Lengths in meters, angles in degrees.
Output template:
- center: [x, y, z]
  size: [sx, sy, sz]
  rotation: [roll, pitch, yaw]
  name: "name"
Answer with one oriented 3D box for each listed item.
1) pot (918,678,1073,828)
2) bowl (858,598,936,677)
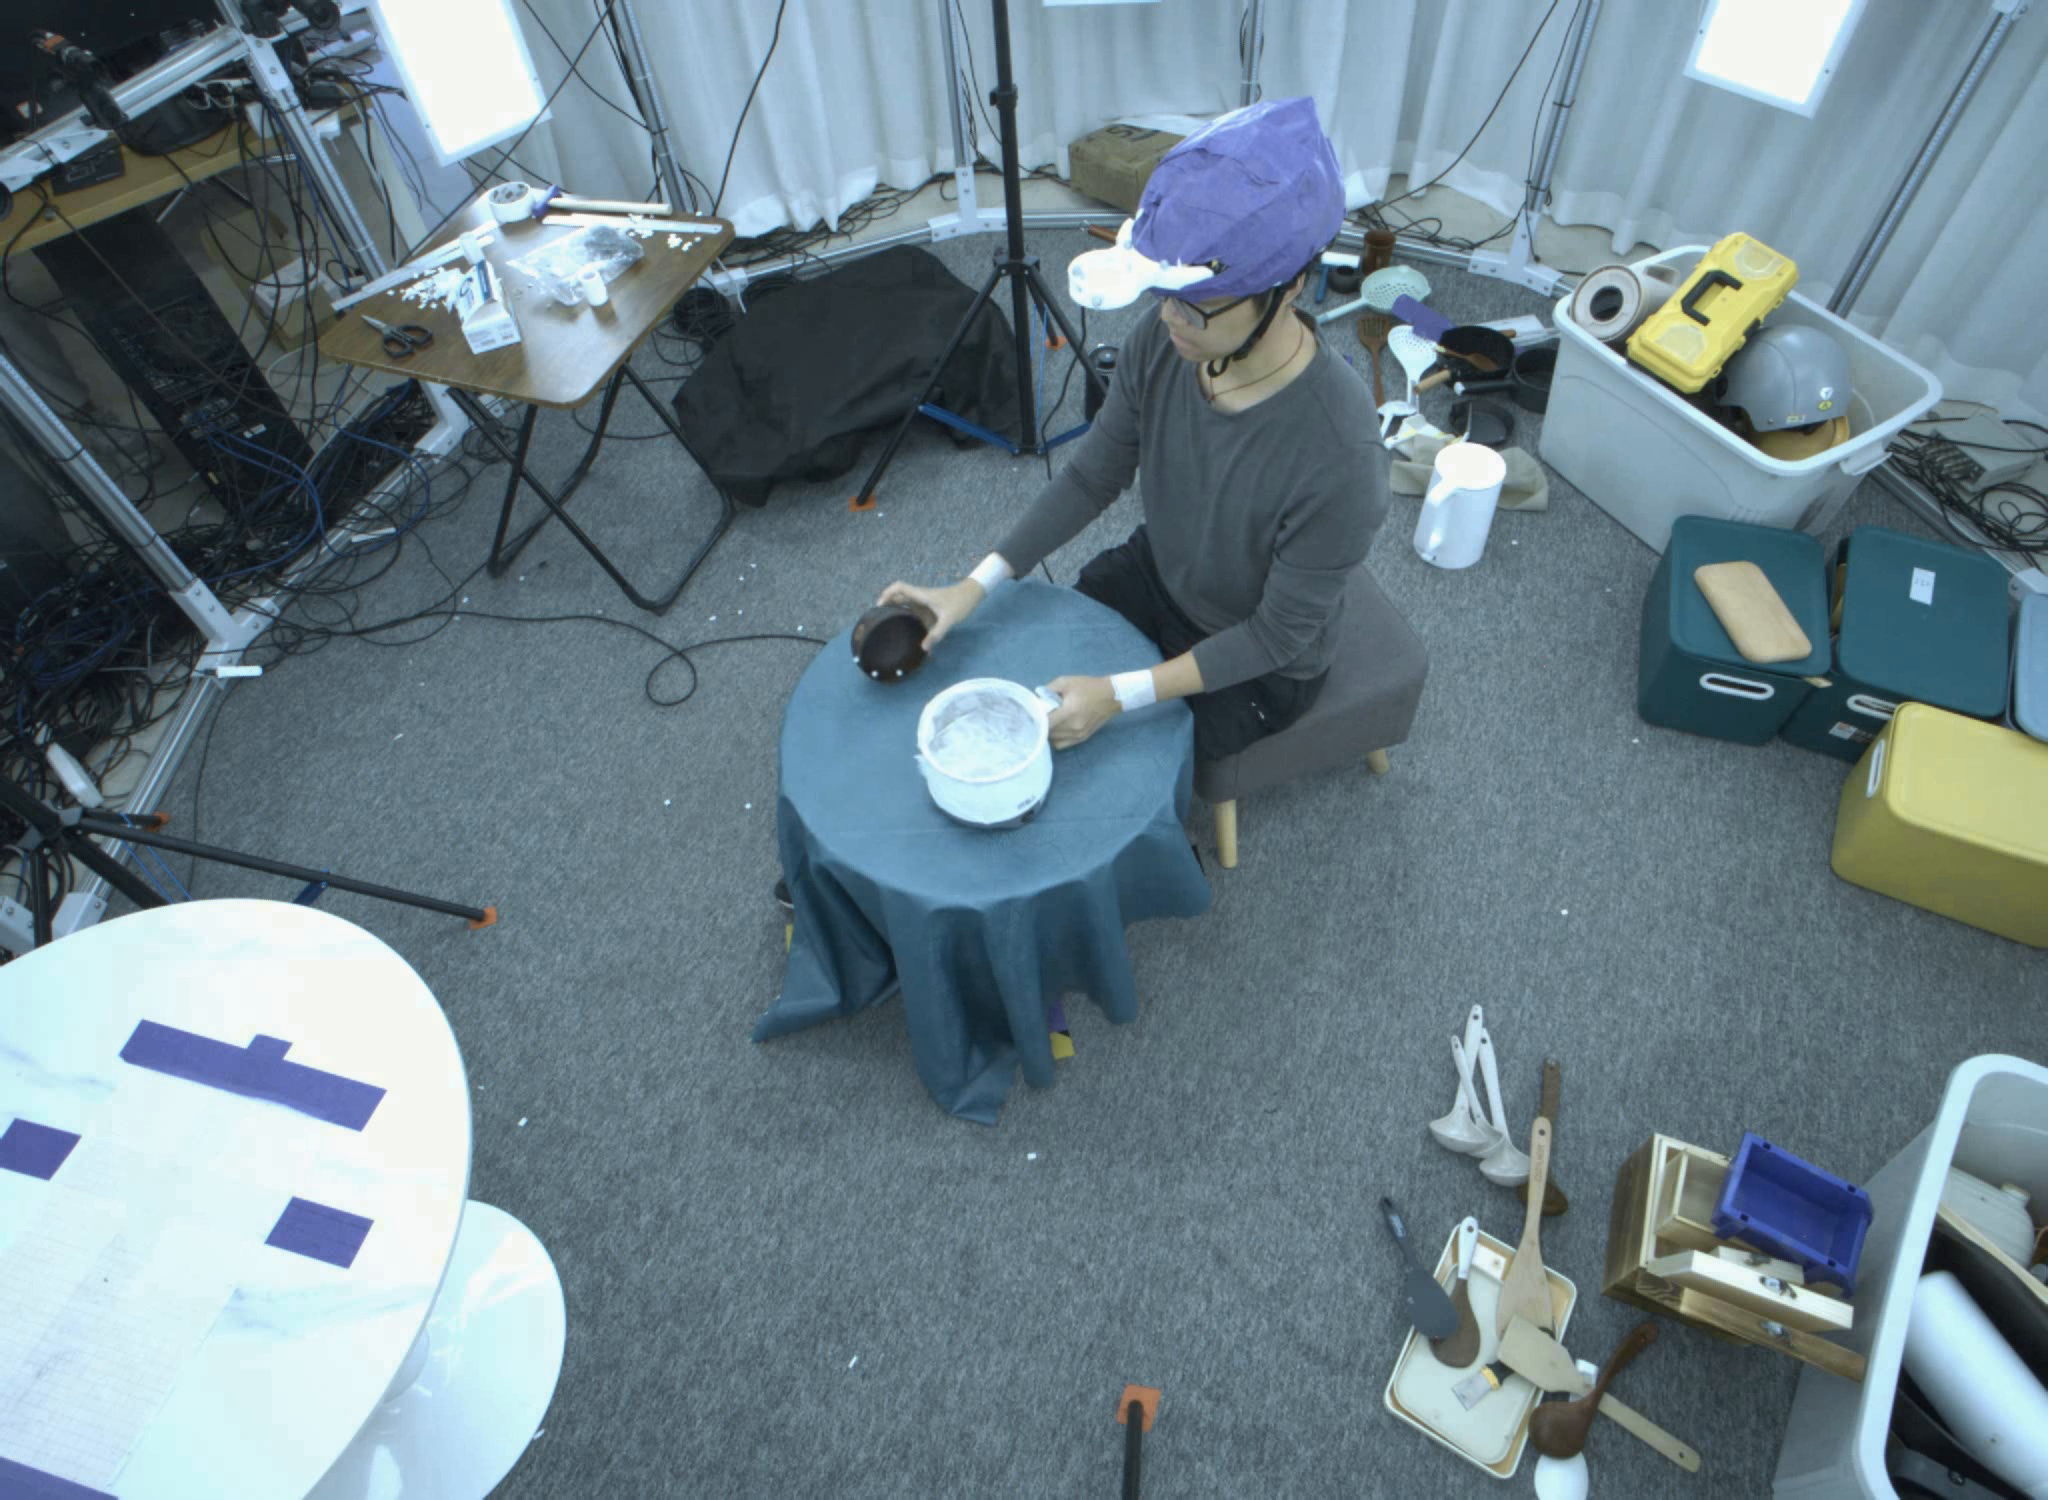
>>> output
- center: [-0.031, -0.006, 1.717]
  size: [0.235, 0.138, 0.175]
  rotation: [-34, 60, -22]
  name: "pot"
- center: [-0.200, -0.176, 1.844]
  size: [0.119, 0.120, 0.068]
  rotation: [-35, 49, -20]
  name: "bowl"
